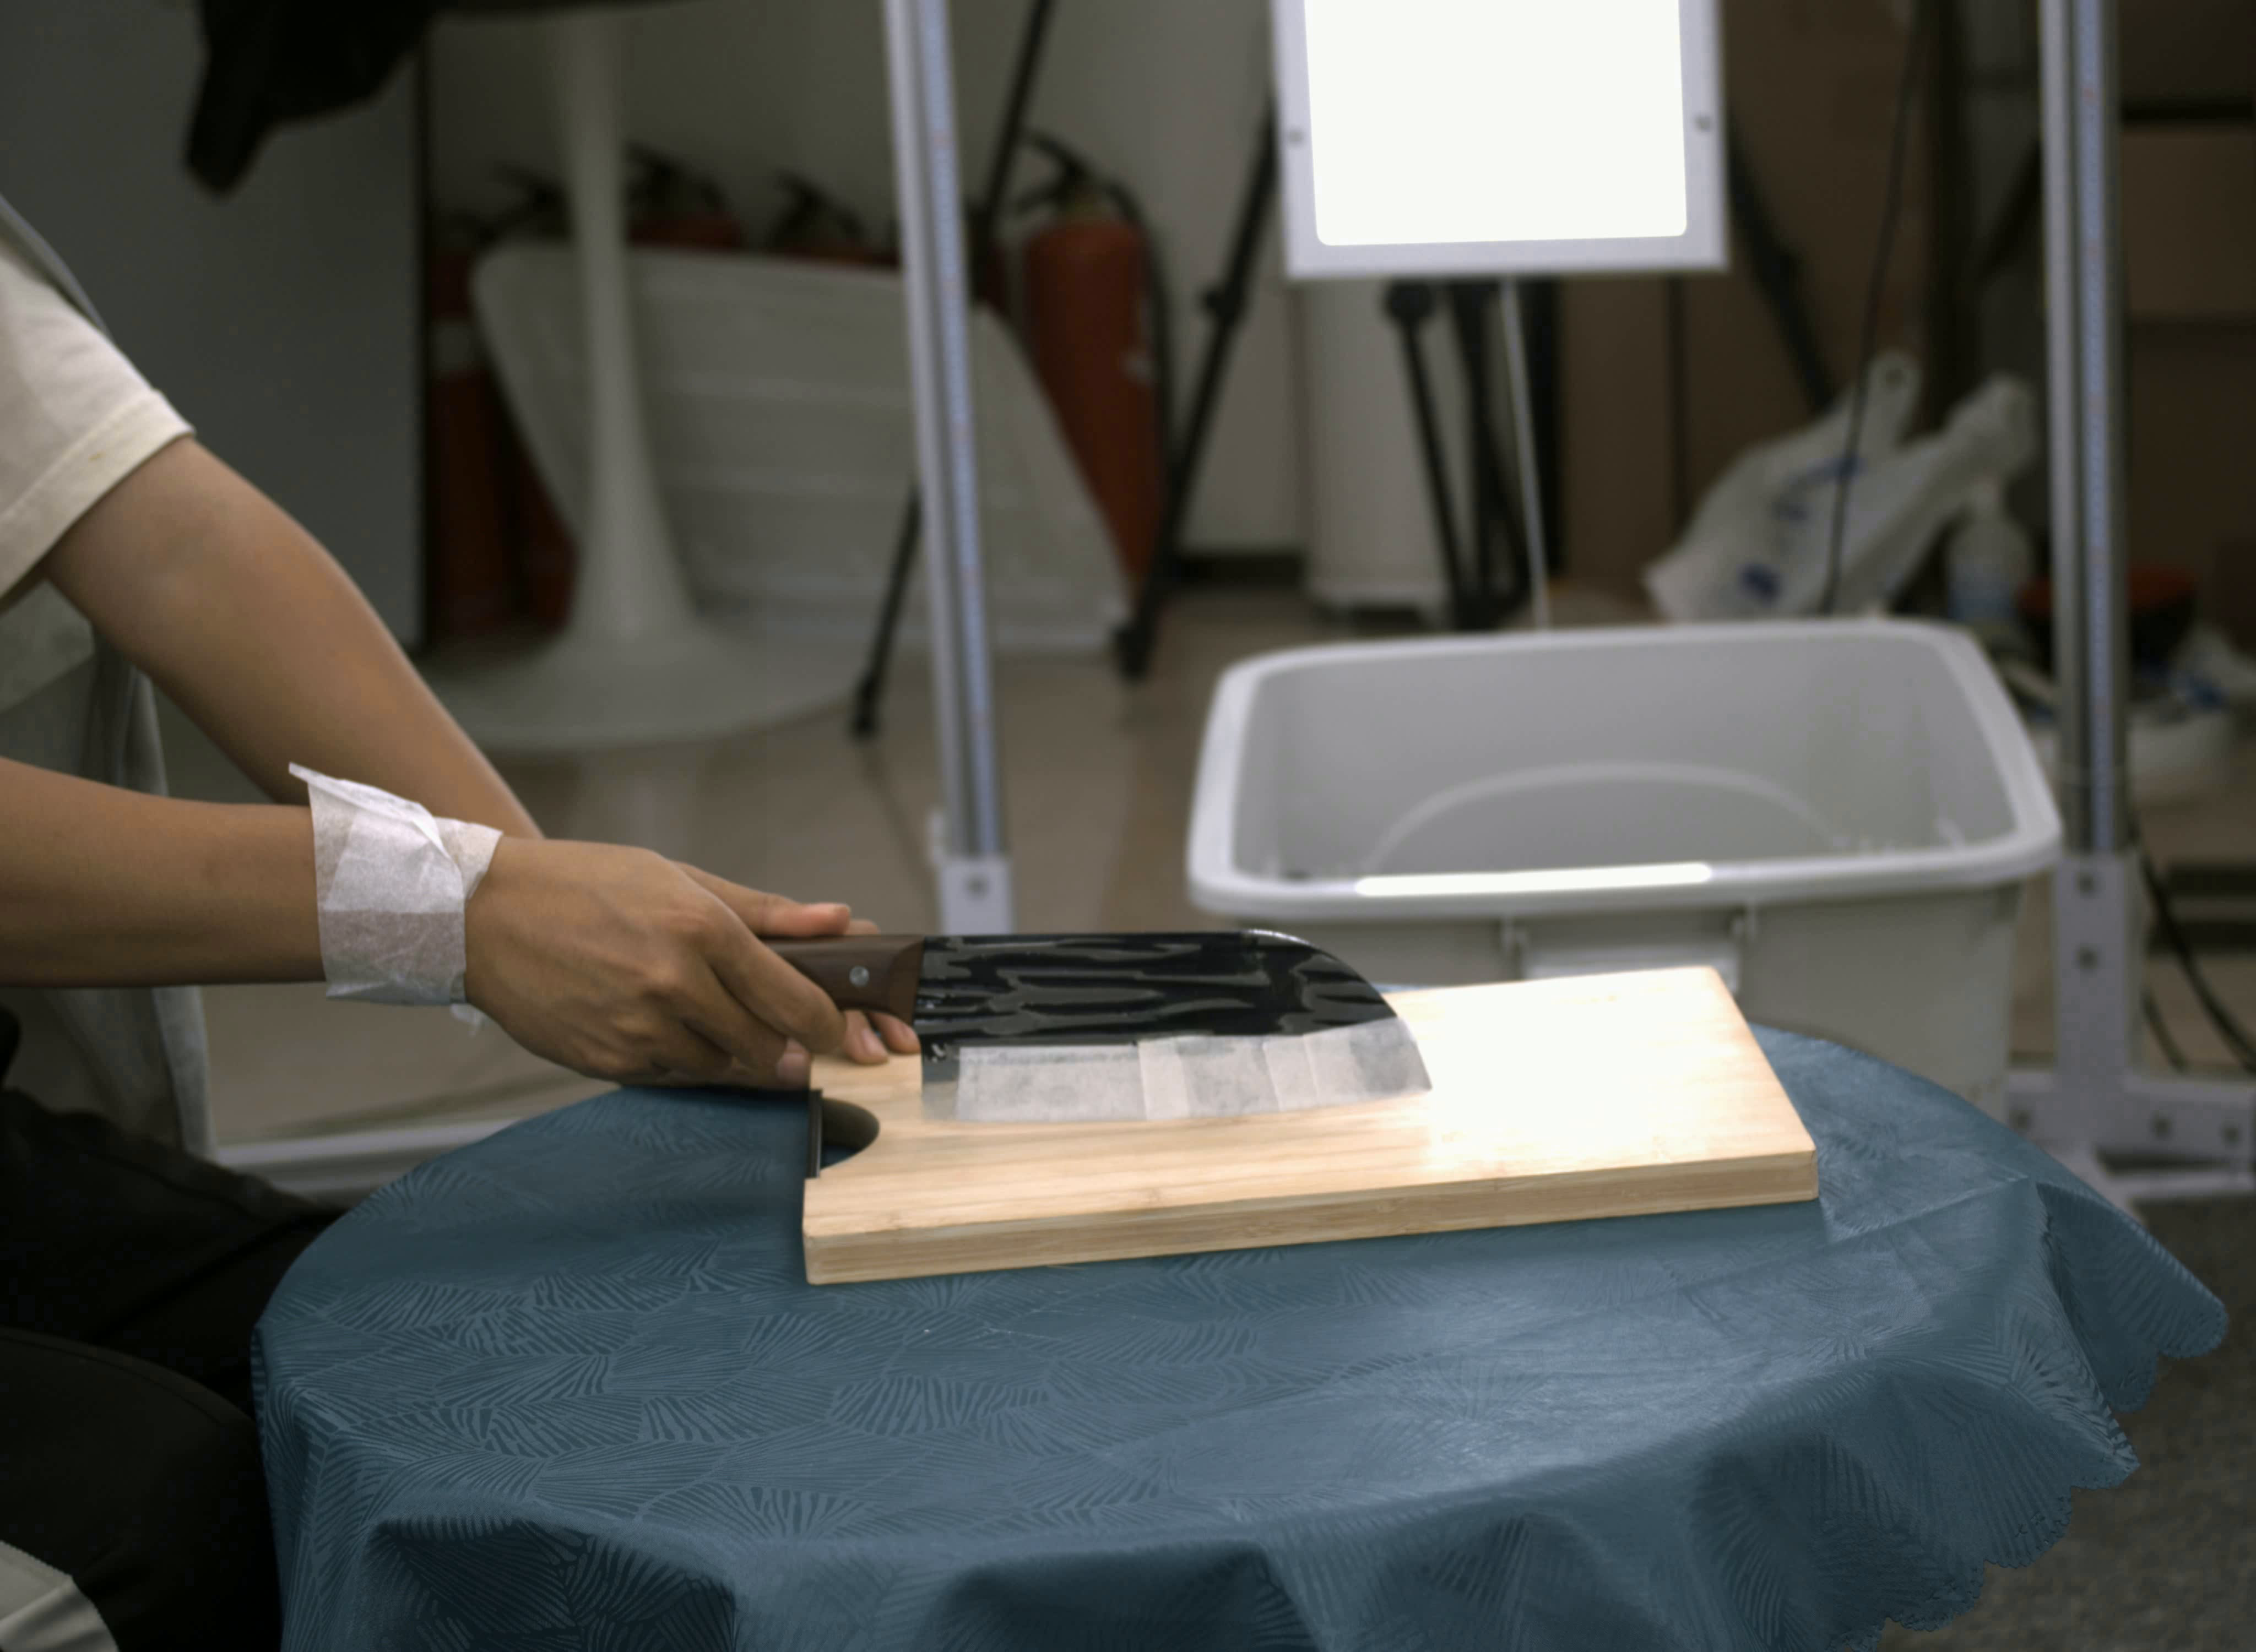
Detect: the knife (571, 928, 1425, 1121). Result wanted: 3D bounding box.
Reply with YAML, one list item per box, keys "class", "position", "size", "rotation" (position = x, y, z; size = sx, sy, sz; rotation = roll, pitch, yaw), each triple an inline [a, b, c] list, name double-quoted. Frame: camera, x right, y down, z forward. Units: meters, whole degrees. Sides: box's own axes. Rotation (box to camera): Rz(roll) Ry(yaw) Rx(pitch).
- class: "knife"
  position: [-0.046, 0.069, 1.912]
  size: [0.301, 0.068, 0.024]
  rotation: [0, 8, 9]

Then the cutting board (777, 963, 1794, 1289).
- class: "cutting board"
  position: [0.051, 0.104, 1.939]
  size: [0.347, 0.023, 0.250]
  rotation: [-5, 13, 0]
